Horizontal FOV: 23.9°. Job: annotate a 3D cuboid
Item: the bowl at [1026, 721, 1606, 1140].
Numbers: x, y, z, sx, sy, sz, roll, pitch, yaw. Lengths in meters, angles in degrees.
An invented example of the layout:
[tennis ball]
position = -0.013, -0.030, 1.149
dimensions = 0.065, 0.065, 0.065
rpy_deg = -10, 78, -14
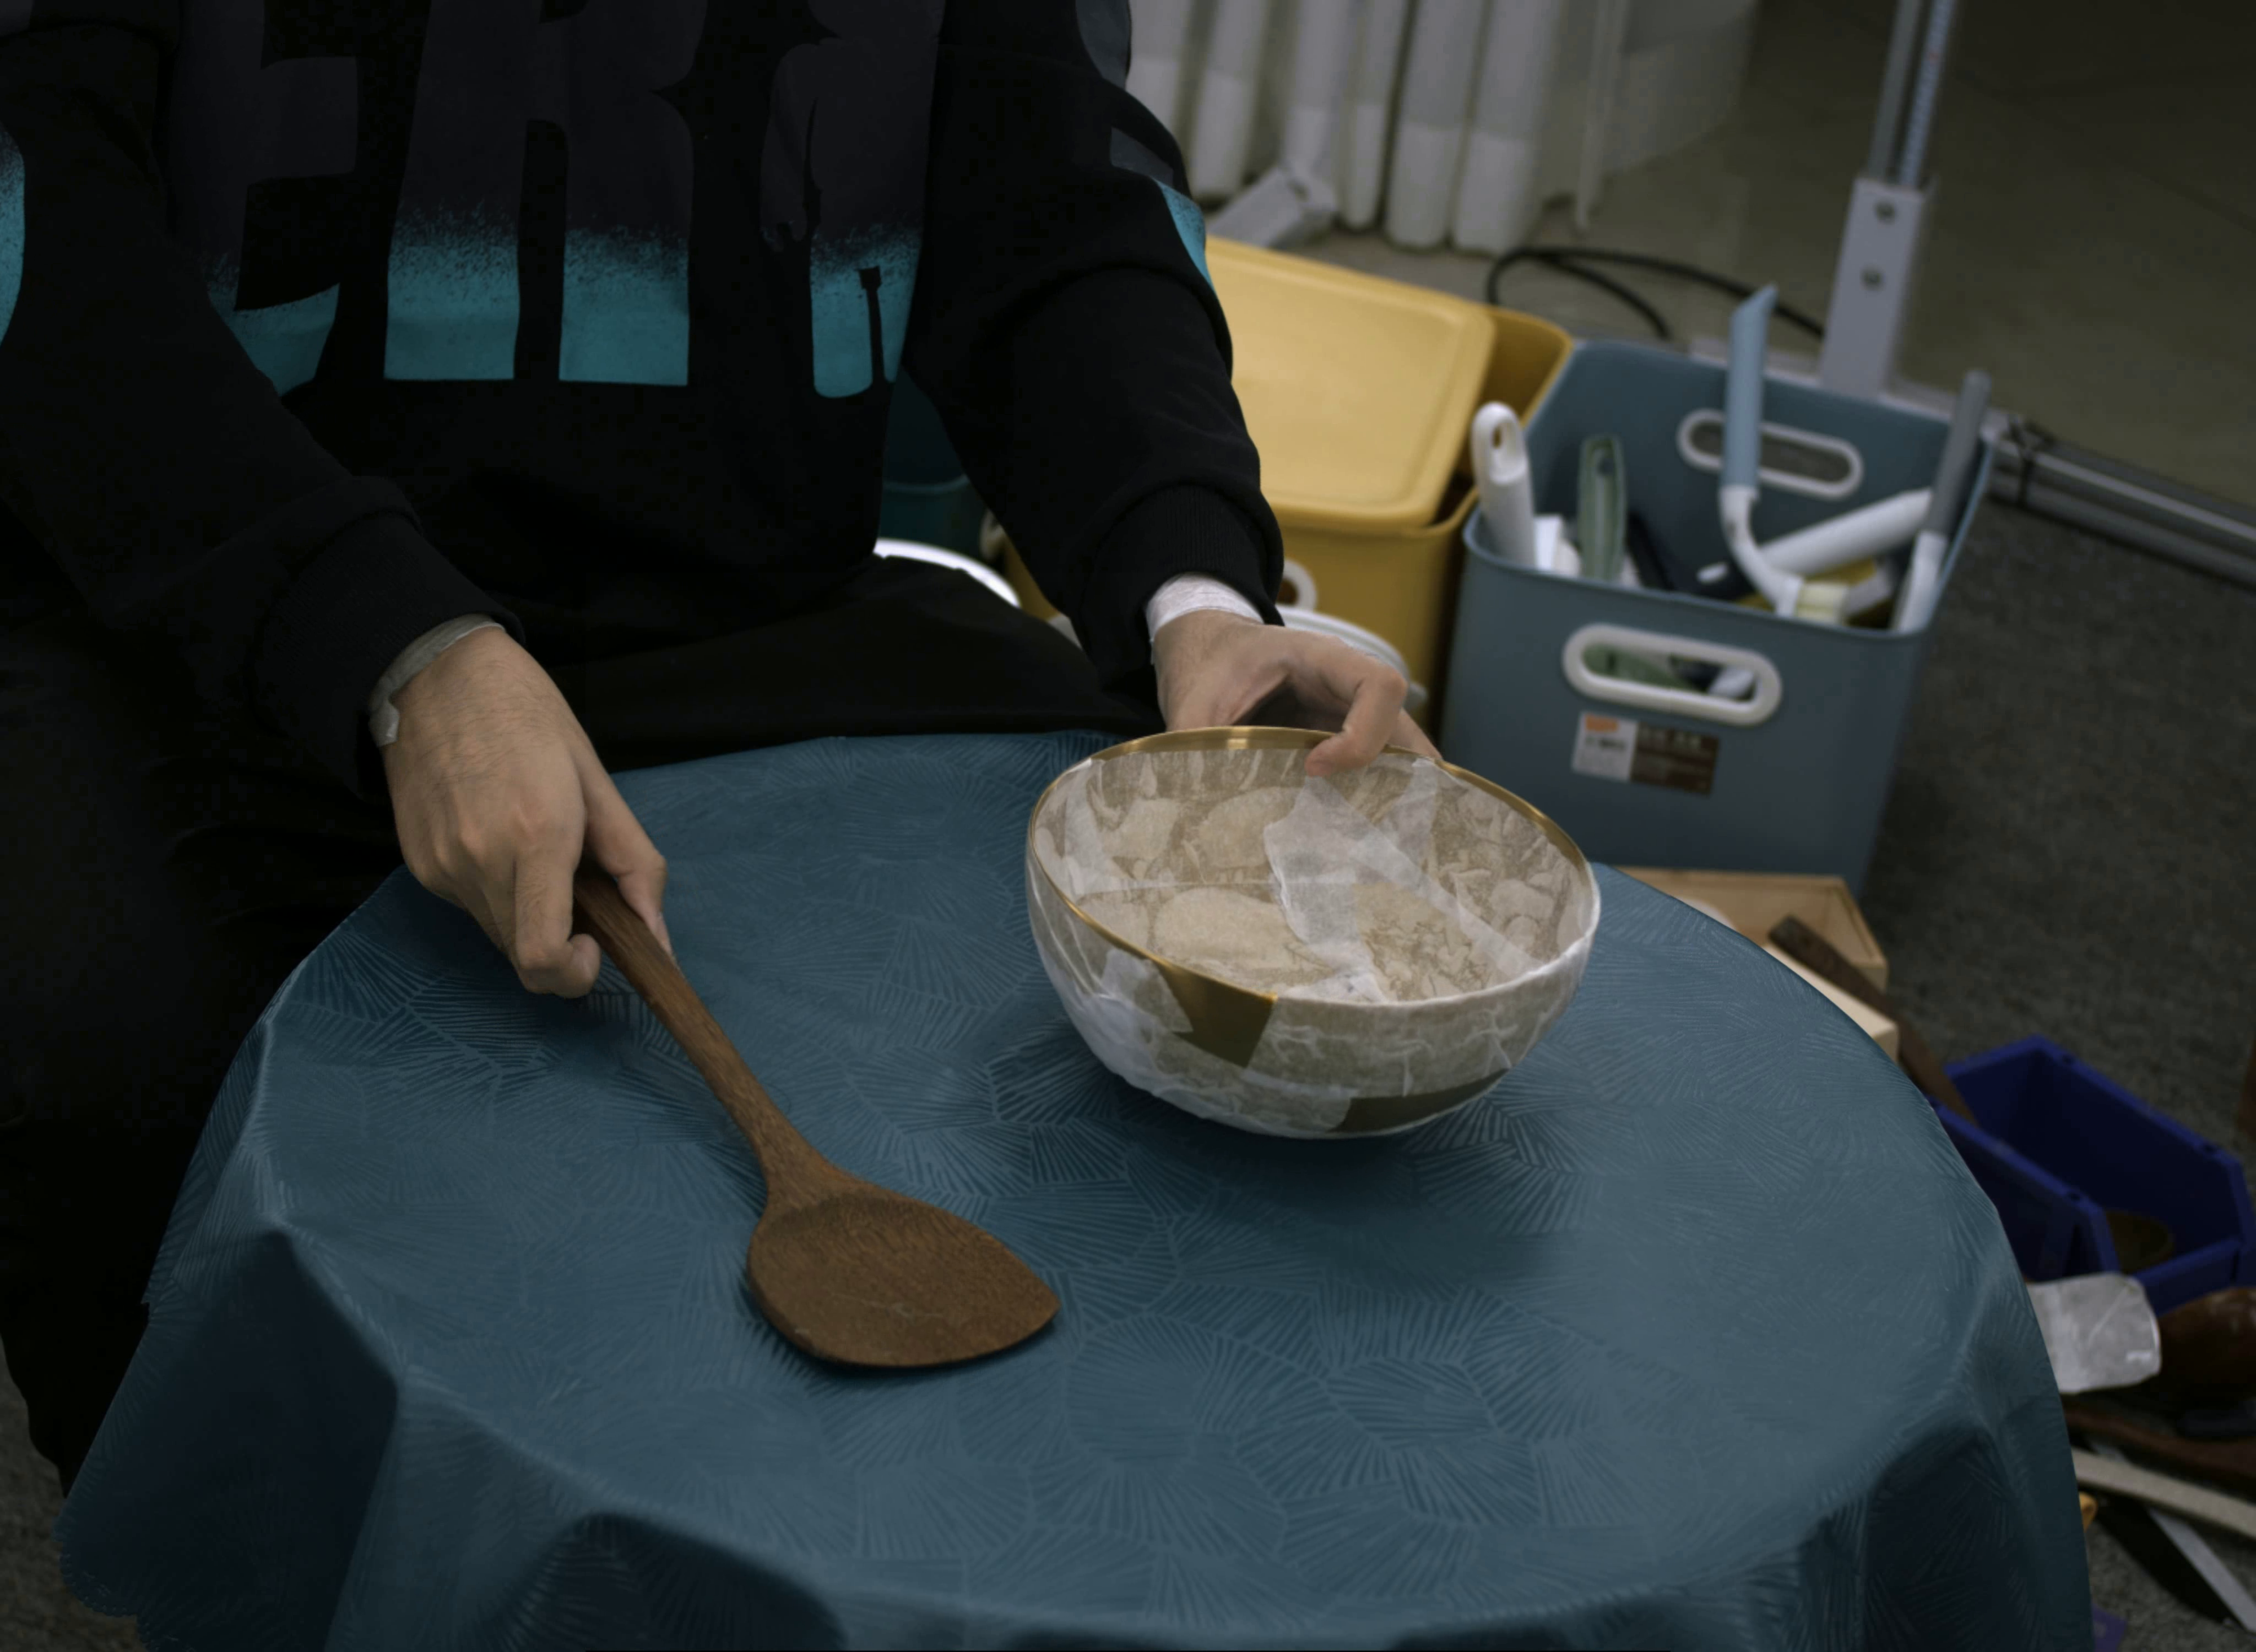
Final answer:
[bowl]
position = 0.060, 0.048, 1.860
dimensions = 0.214, 0.094, 0.216
rpy_deg = 4, 27, -2

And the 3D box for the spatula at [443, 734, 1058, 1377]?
[spatula]
position = -0.149, 0.069, 1.823
dimensions = 0.095, 0.016, 0.389
rpy_deg = -9, 37, -31
